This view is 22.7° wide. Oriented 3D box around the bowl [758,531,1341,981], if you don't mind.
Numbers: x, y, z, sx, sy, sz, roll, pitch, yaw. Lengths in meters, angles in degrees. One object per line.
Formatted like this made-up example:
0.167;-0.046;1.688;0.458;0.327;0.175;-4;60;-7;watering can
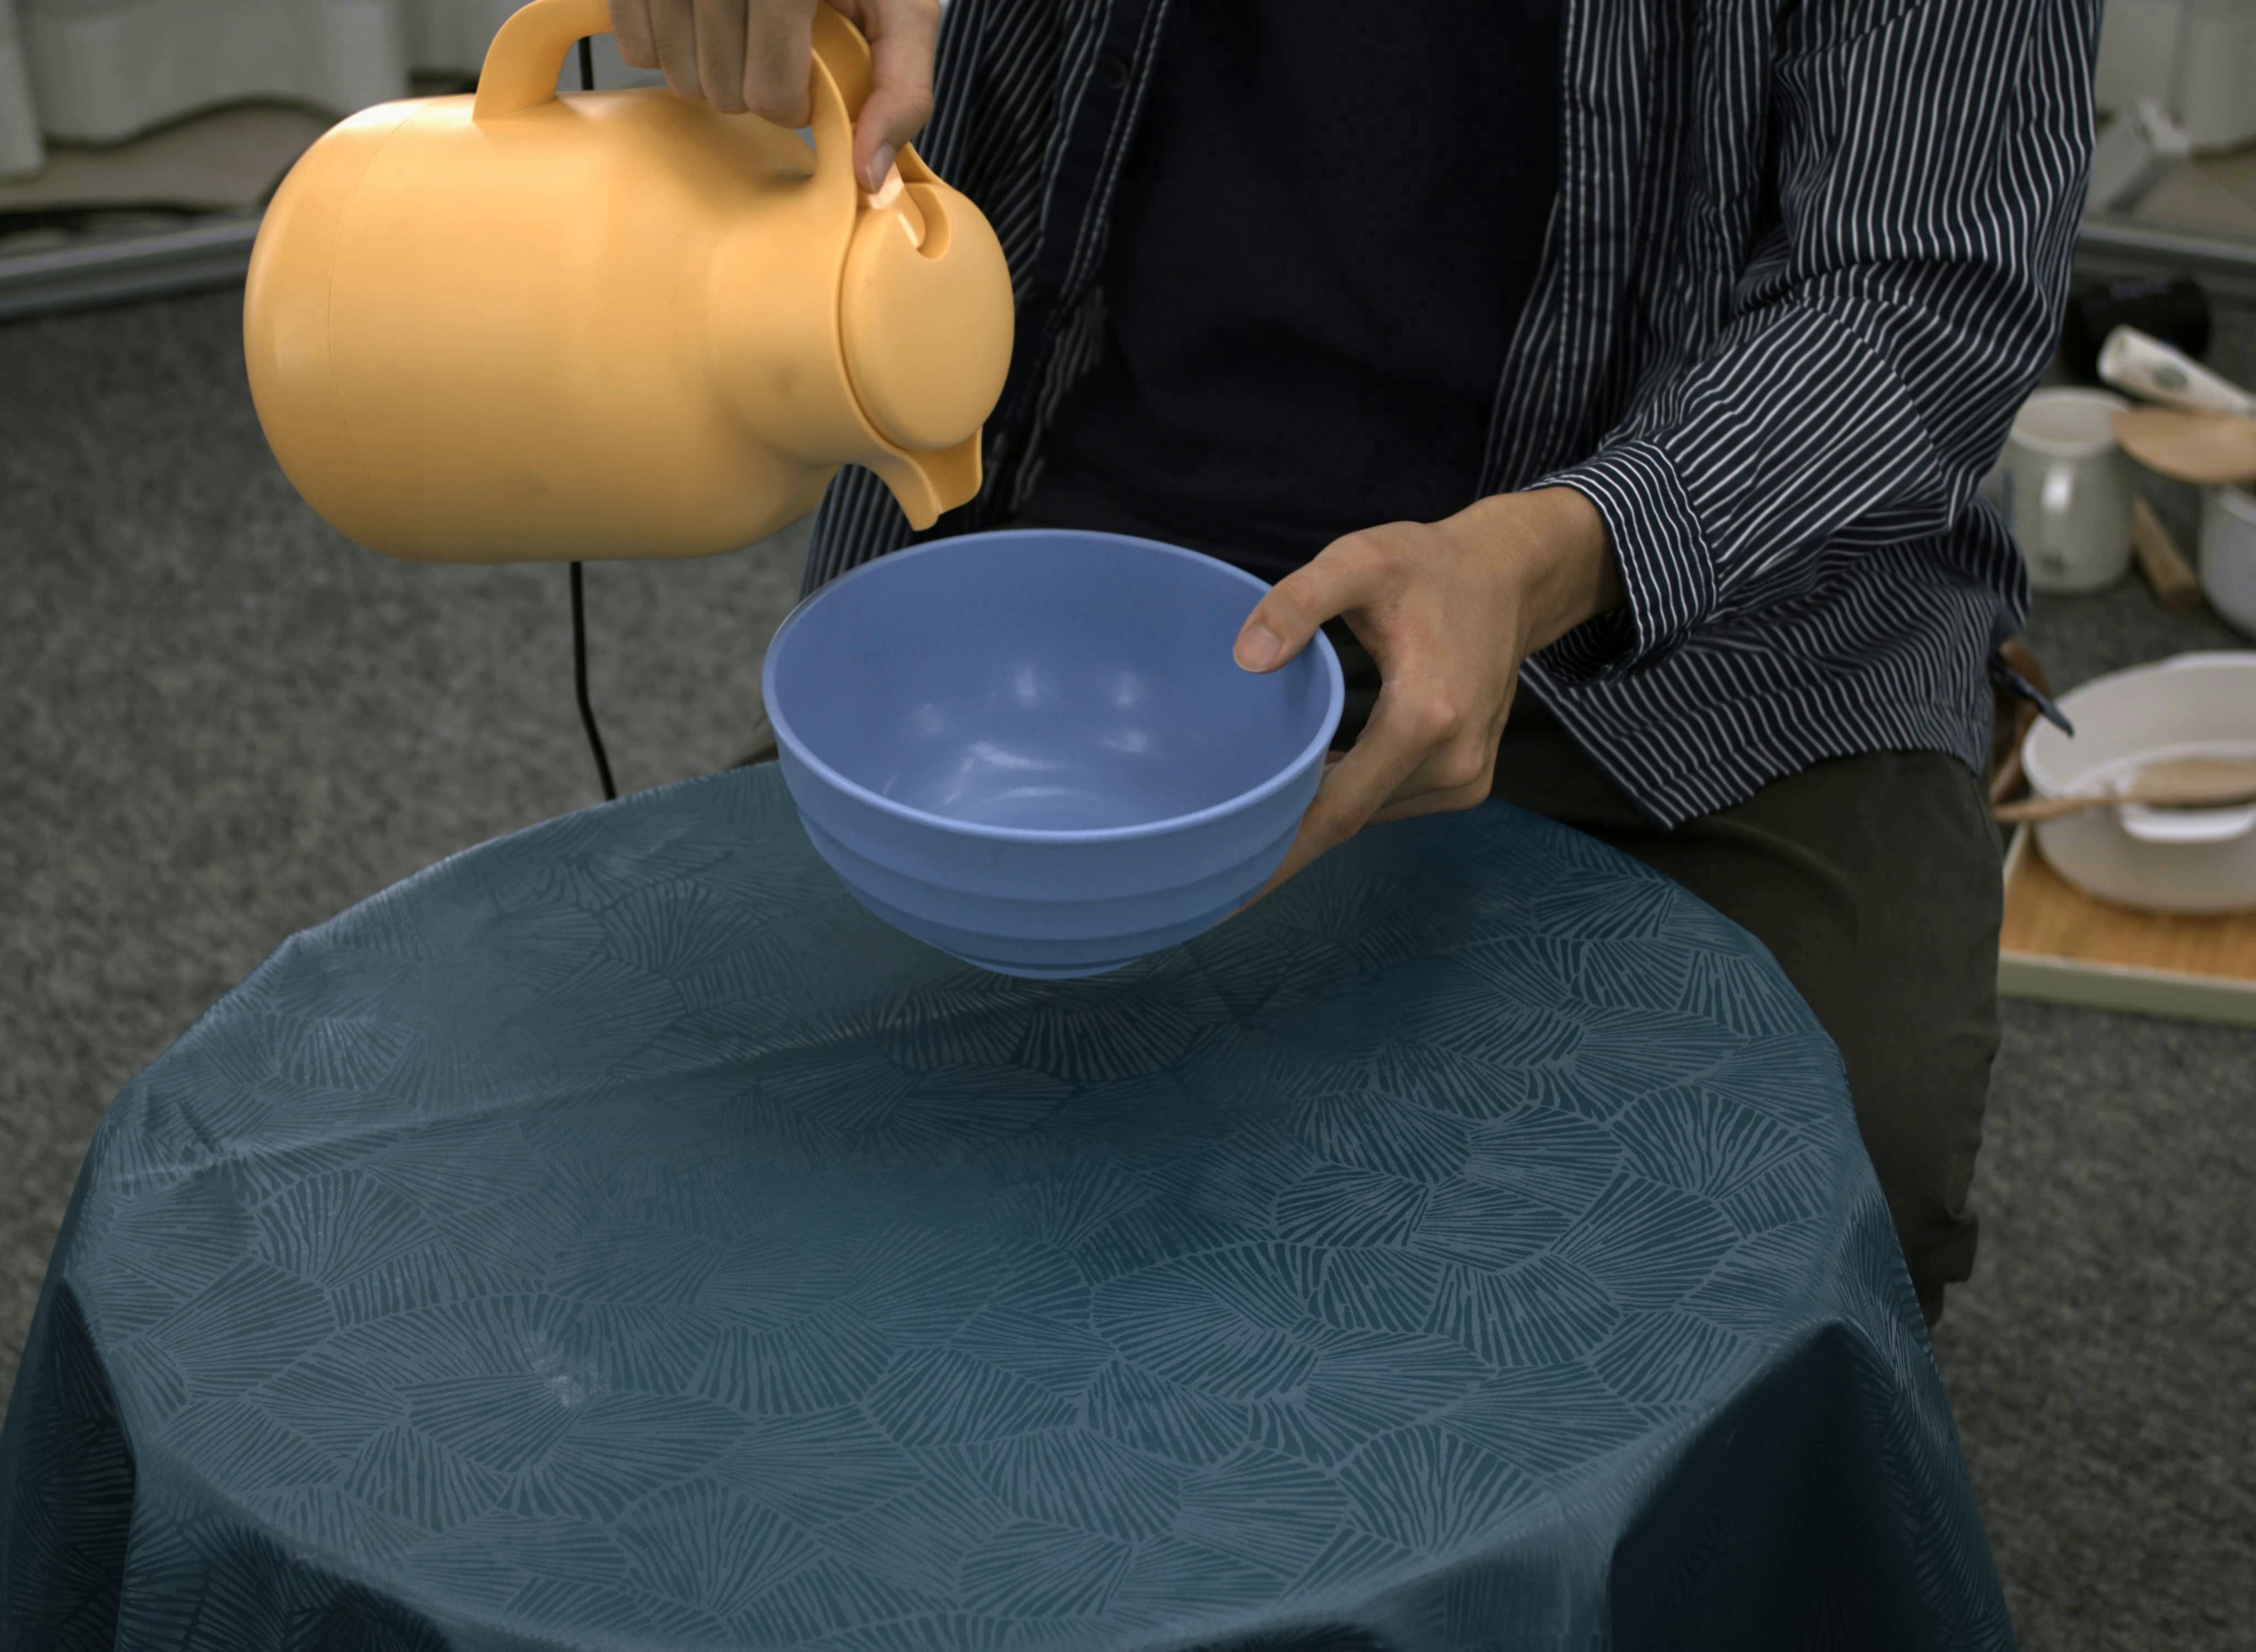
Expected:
-0.027;-0.012;1.910;0.195;0.094;0.200;1;33;0;bowl

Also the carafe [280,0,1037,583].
-0.158;-0.183;1.924;0.258;0.201;0.166;1;23;35;carafe
